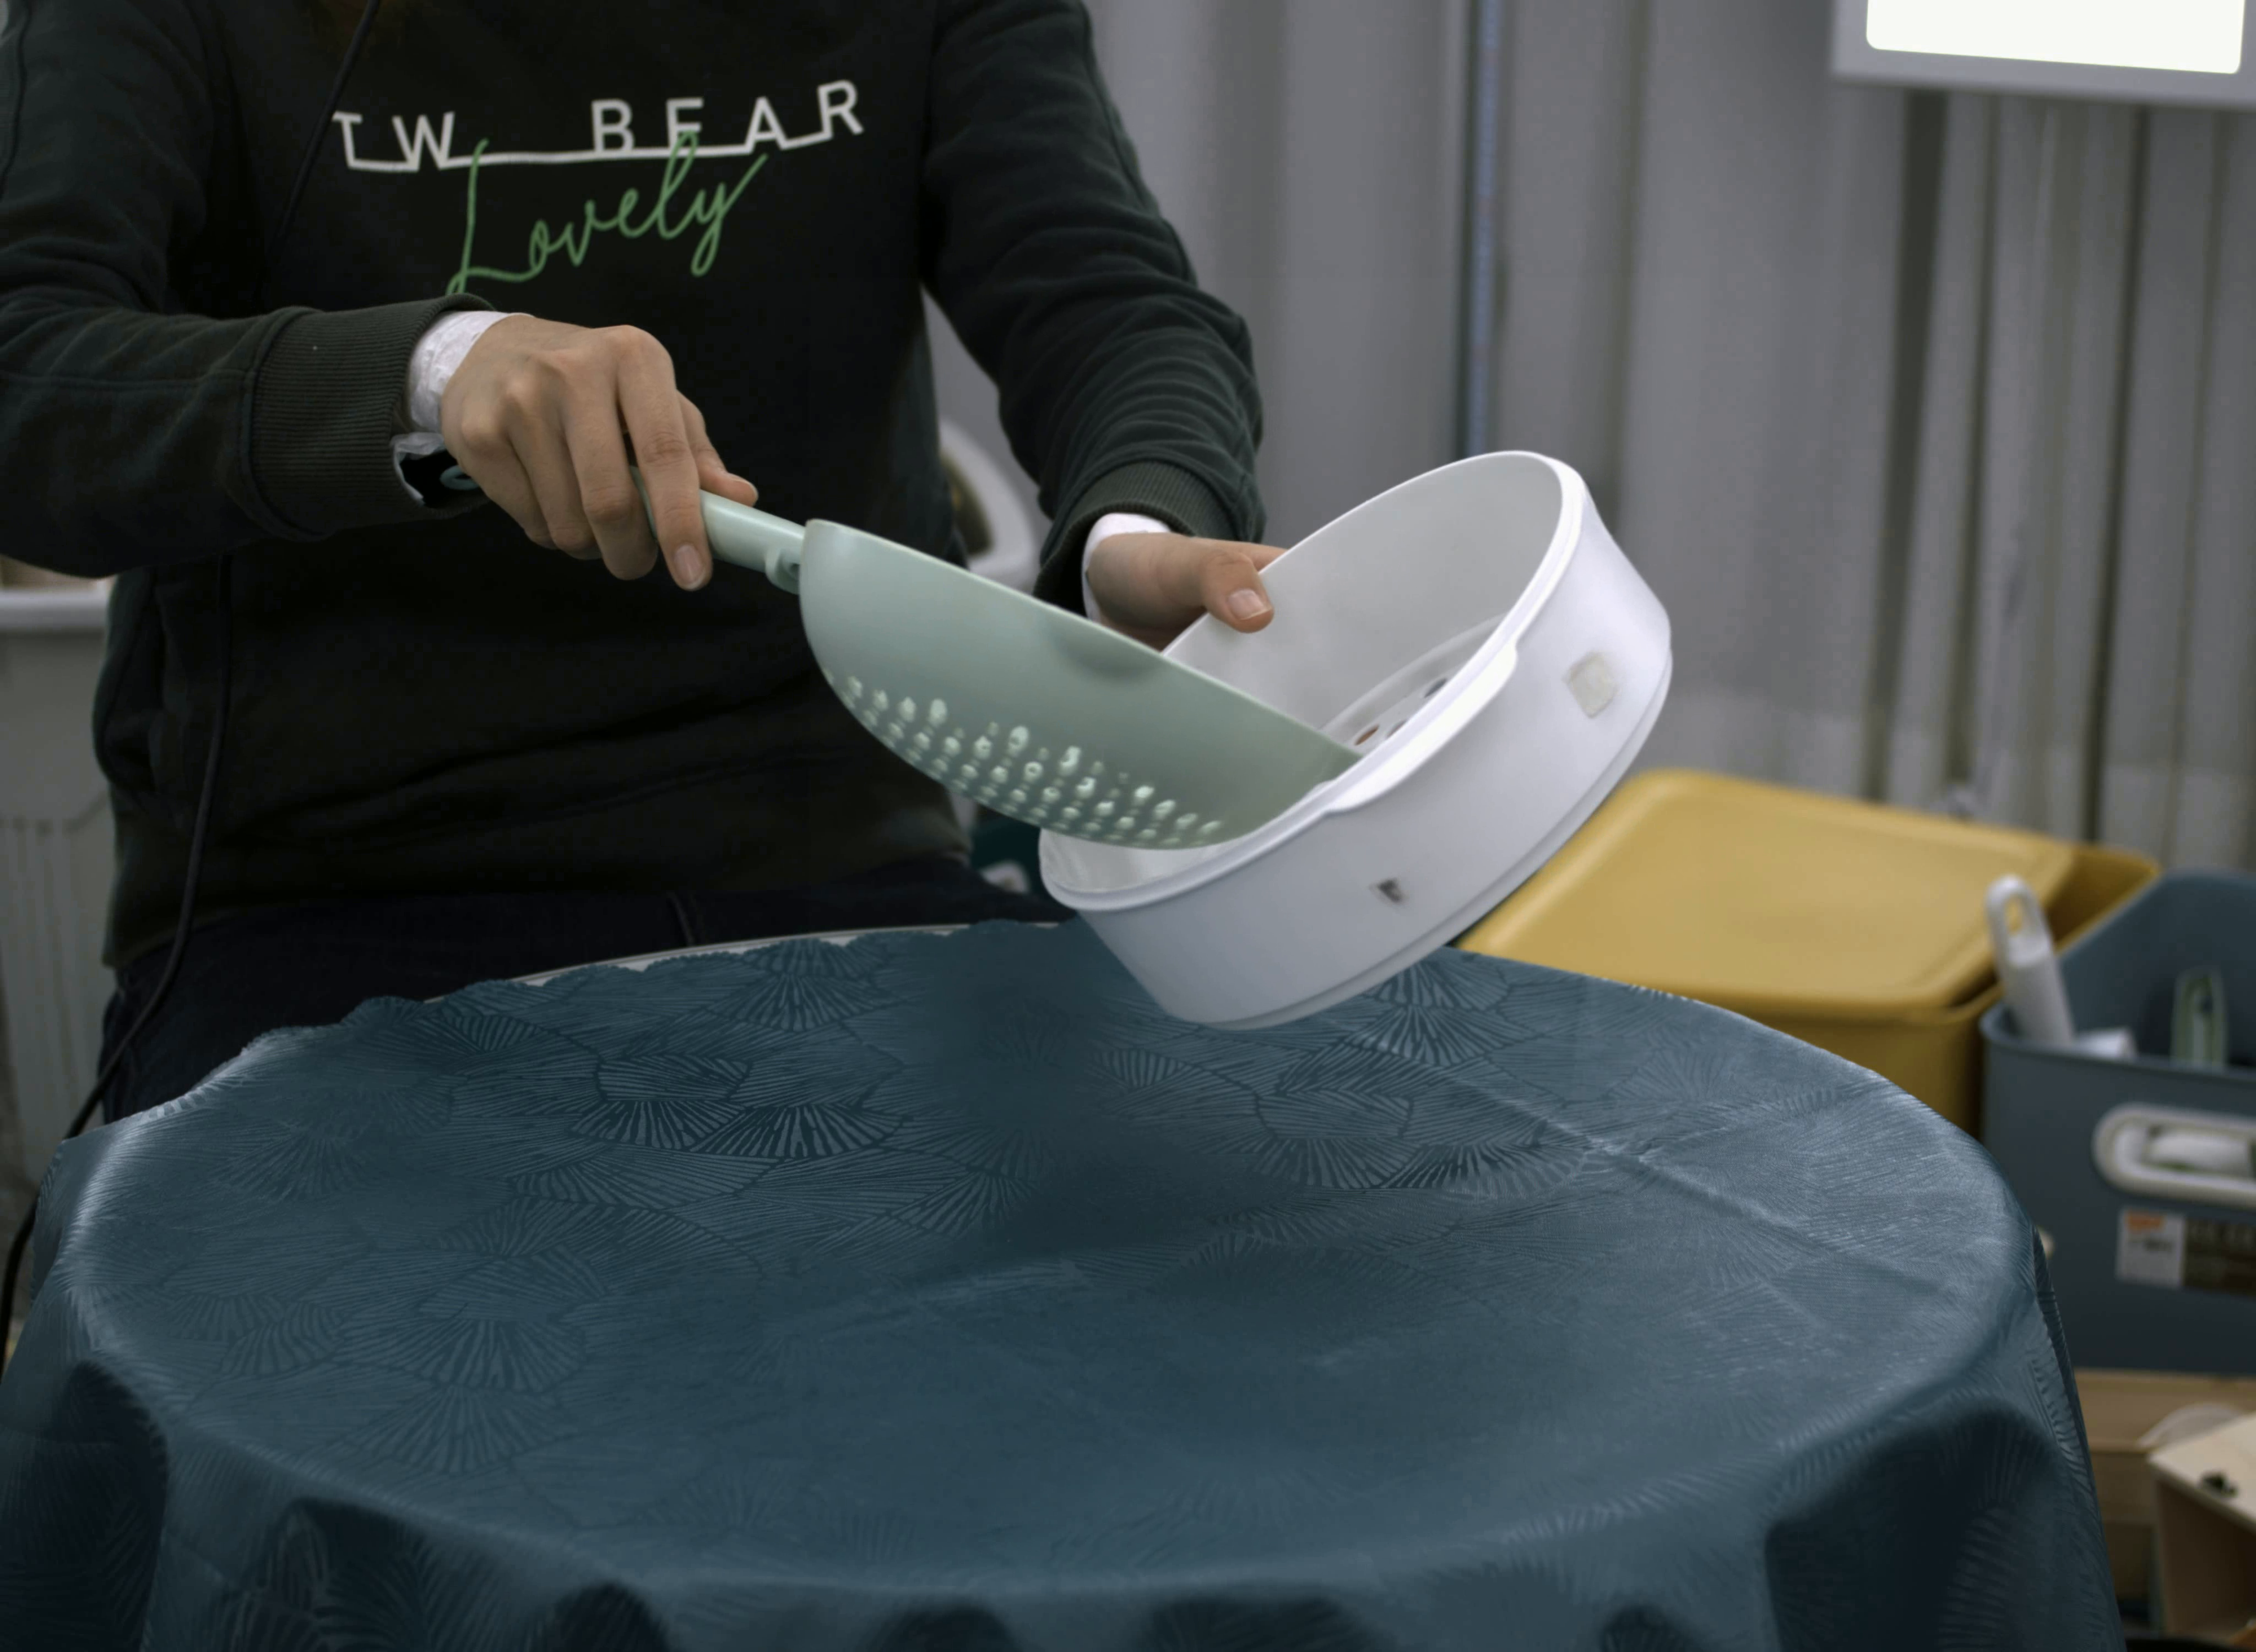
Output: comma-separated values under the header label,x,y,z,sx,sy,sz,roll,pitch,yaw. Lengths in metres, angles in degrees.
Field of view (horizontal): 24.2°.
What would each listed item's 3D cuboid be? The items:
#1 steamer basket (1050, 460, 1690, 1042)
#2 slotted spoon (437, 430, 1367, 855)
label,x,y,z,sx,sy,sz,roll,pitch,yaw
steamer basket,0.075,-0.021,1.572,0.202,0.070,0.228,-41,19,-8
slotted spoon,-0.089,-0.072,1.593,0.354,0.075,0.171,32,4,39
